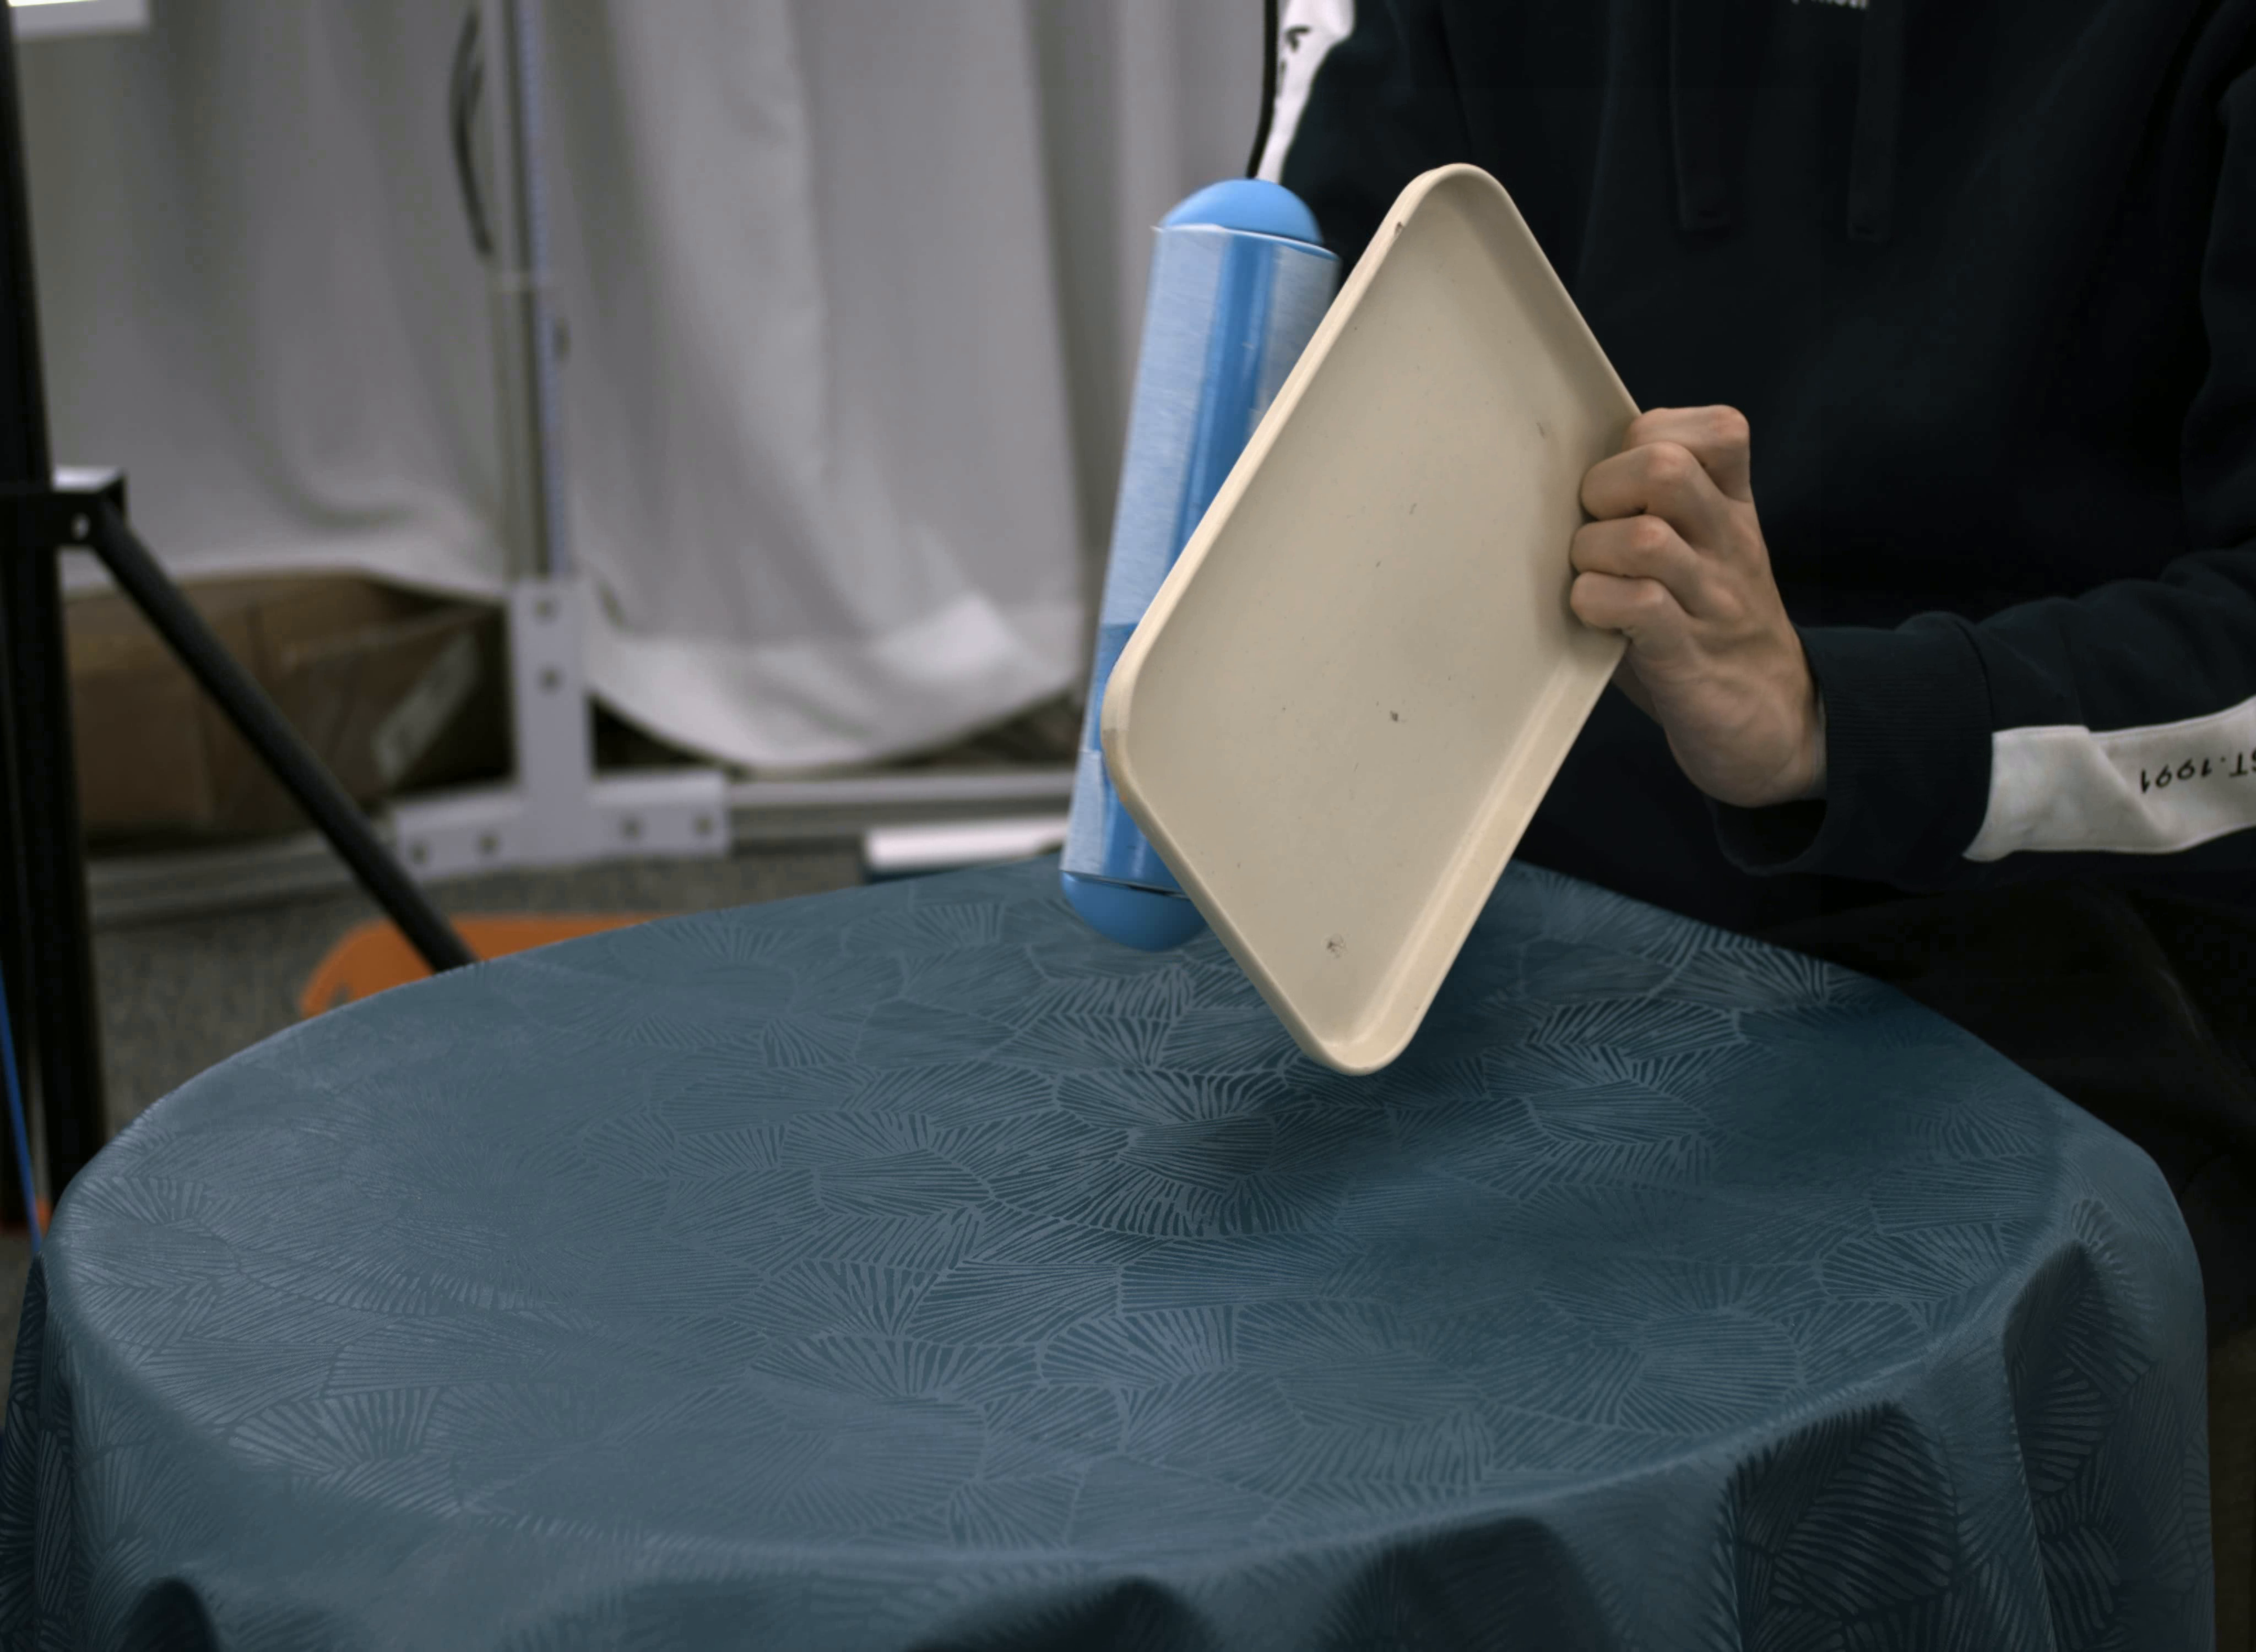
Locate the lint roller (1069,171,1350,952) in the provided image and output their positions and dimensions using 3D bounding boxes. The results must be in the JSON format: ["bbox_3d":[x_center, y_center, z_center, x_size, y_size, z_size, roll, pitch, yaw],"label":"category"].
[{"bbox_3d":[0.033,-0.071,1.614,0.068,0.230,0.178,7,-5,11],"label":"lint roller"}]

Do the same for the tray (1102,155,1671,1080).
[{"bbox_3d":[0.077,-0.060,1.534,0.018,0.168,0.239,4,52,41],"label":"tray"}]
